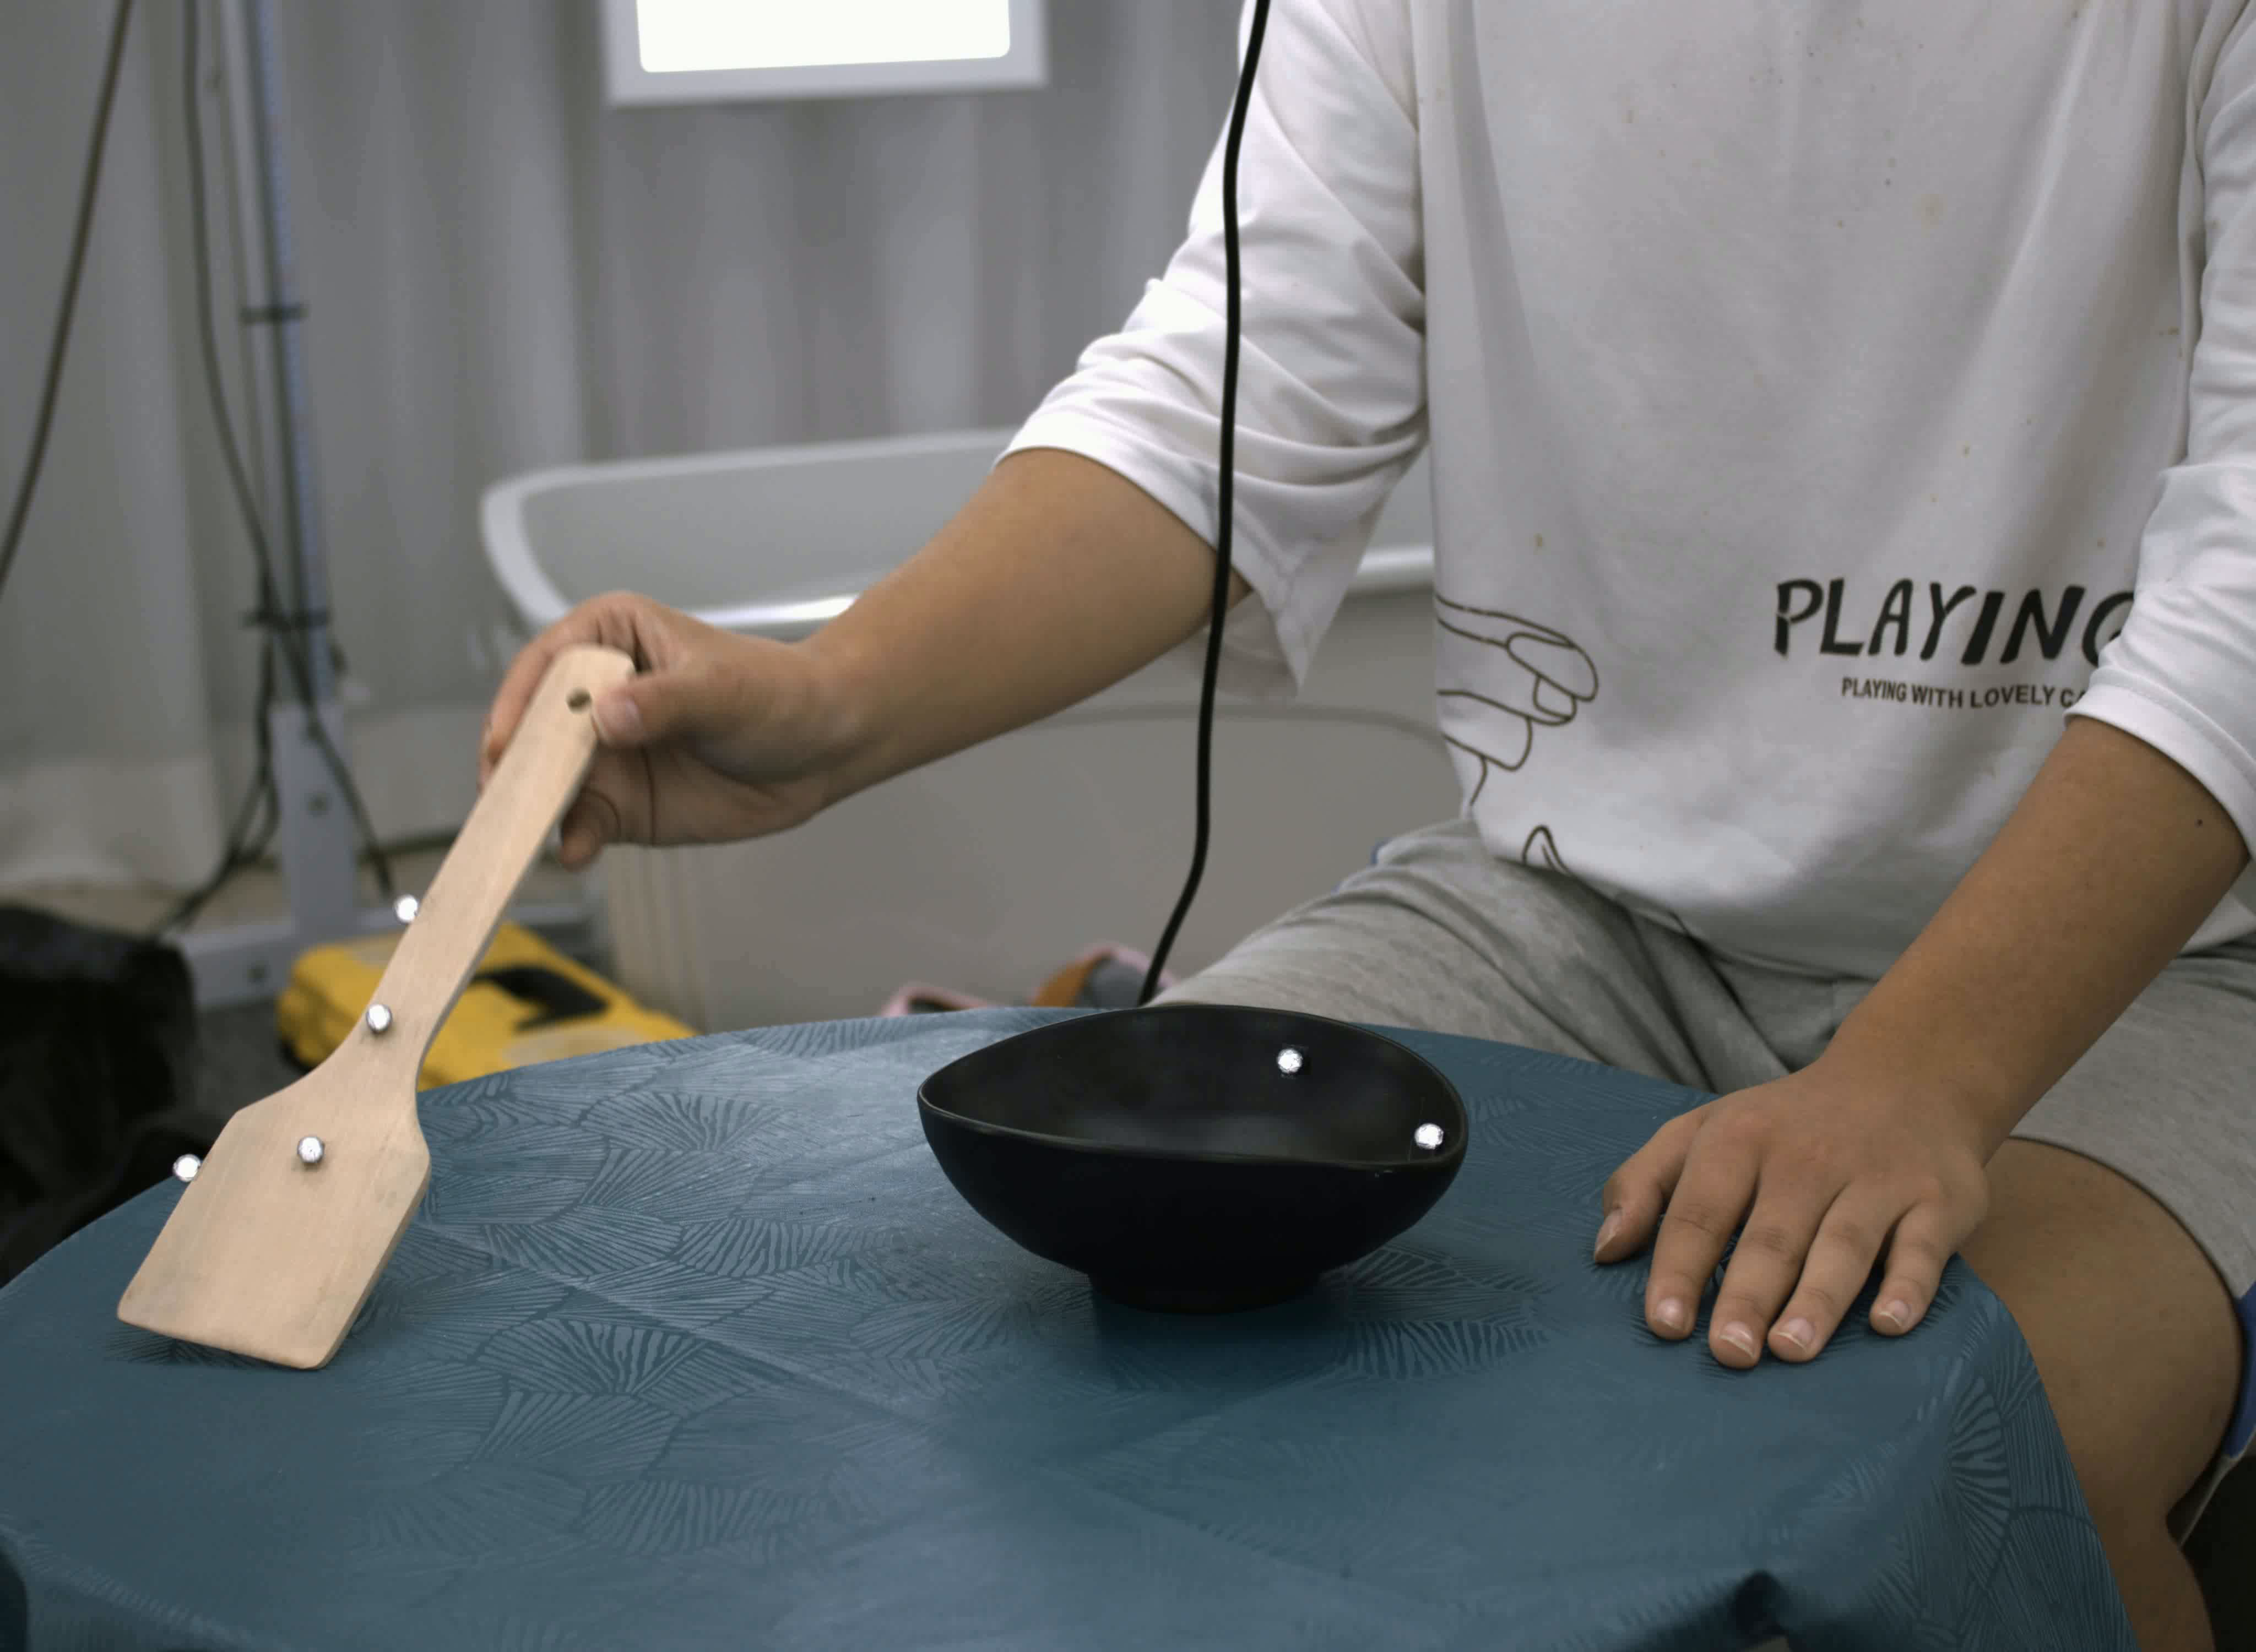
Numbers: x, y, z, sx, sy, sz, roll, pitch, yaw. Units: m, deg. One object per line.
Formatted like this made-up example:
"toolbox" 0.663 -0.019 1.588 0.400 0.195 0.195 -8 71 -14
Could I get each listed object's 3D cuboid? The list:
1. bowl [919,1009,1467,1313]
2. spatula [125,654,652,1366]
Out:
"bowl" 0.020 0.104 1.632 0.170 0.066 0.138 5 16 21
"spatula" -0.216 0.049 1.696 0.072 0.010 0.296 12 49 17
